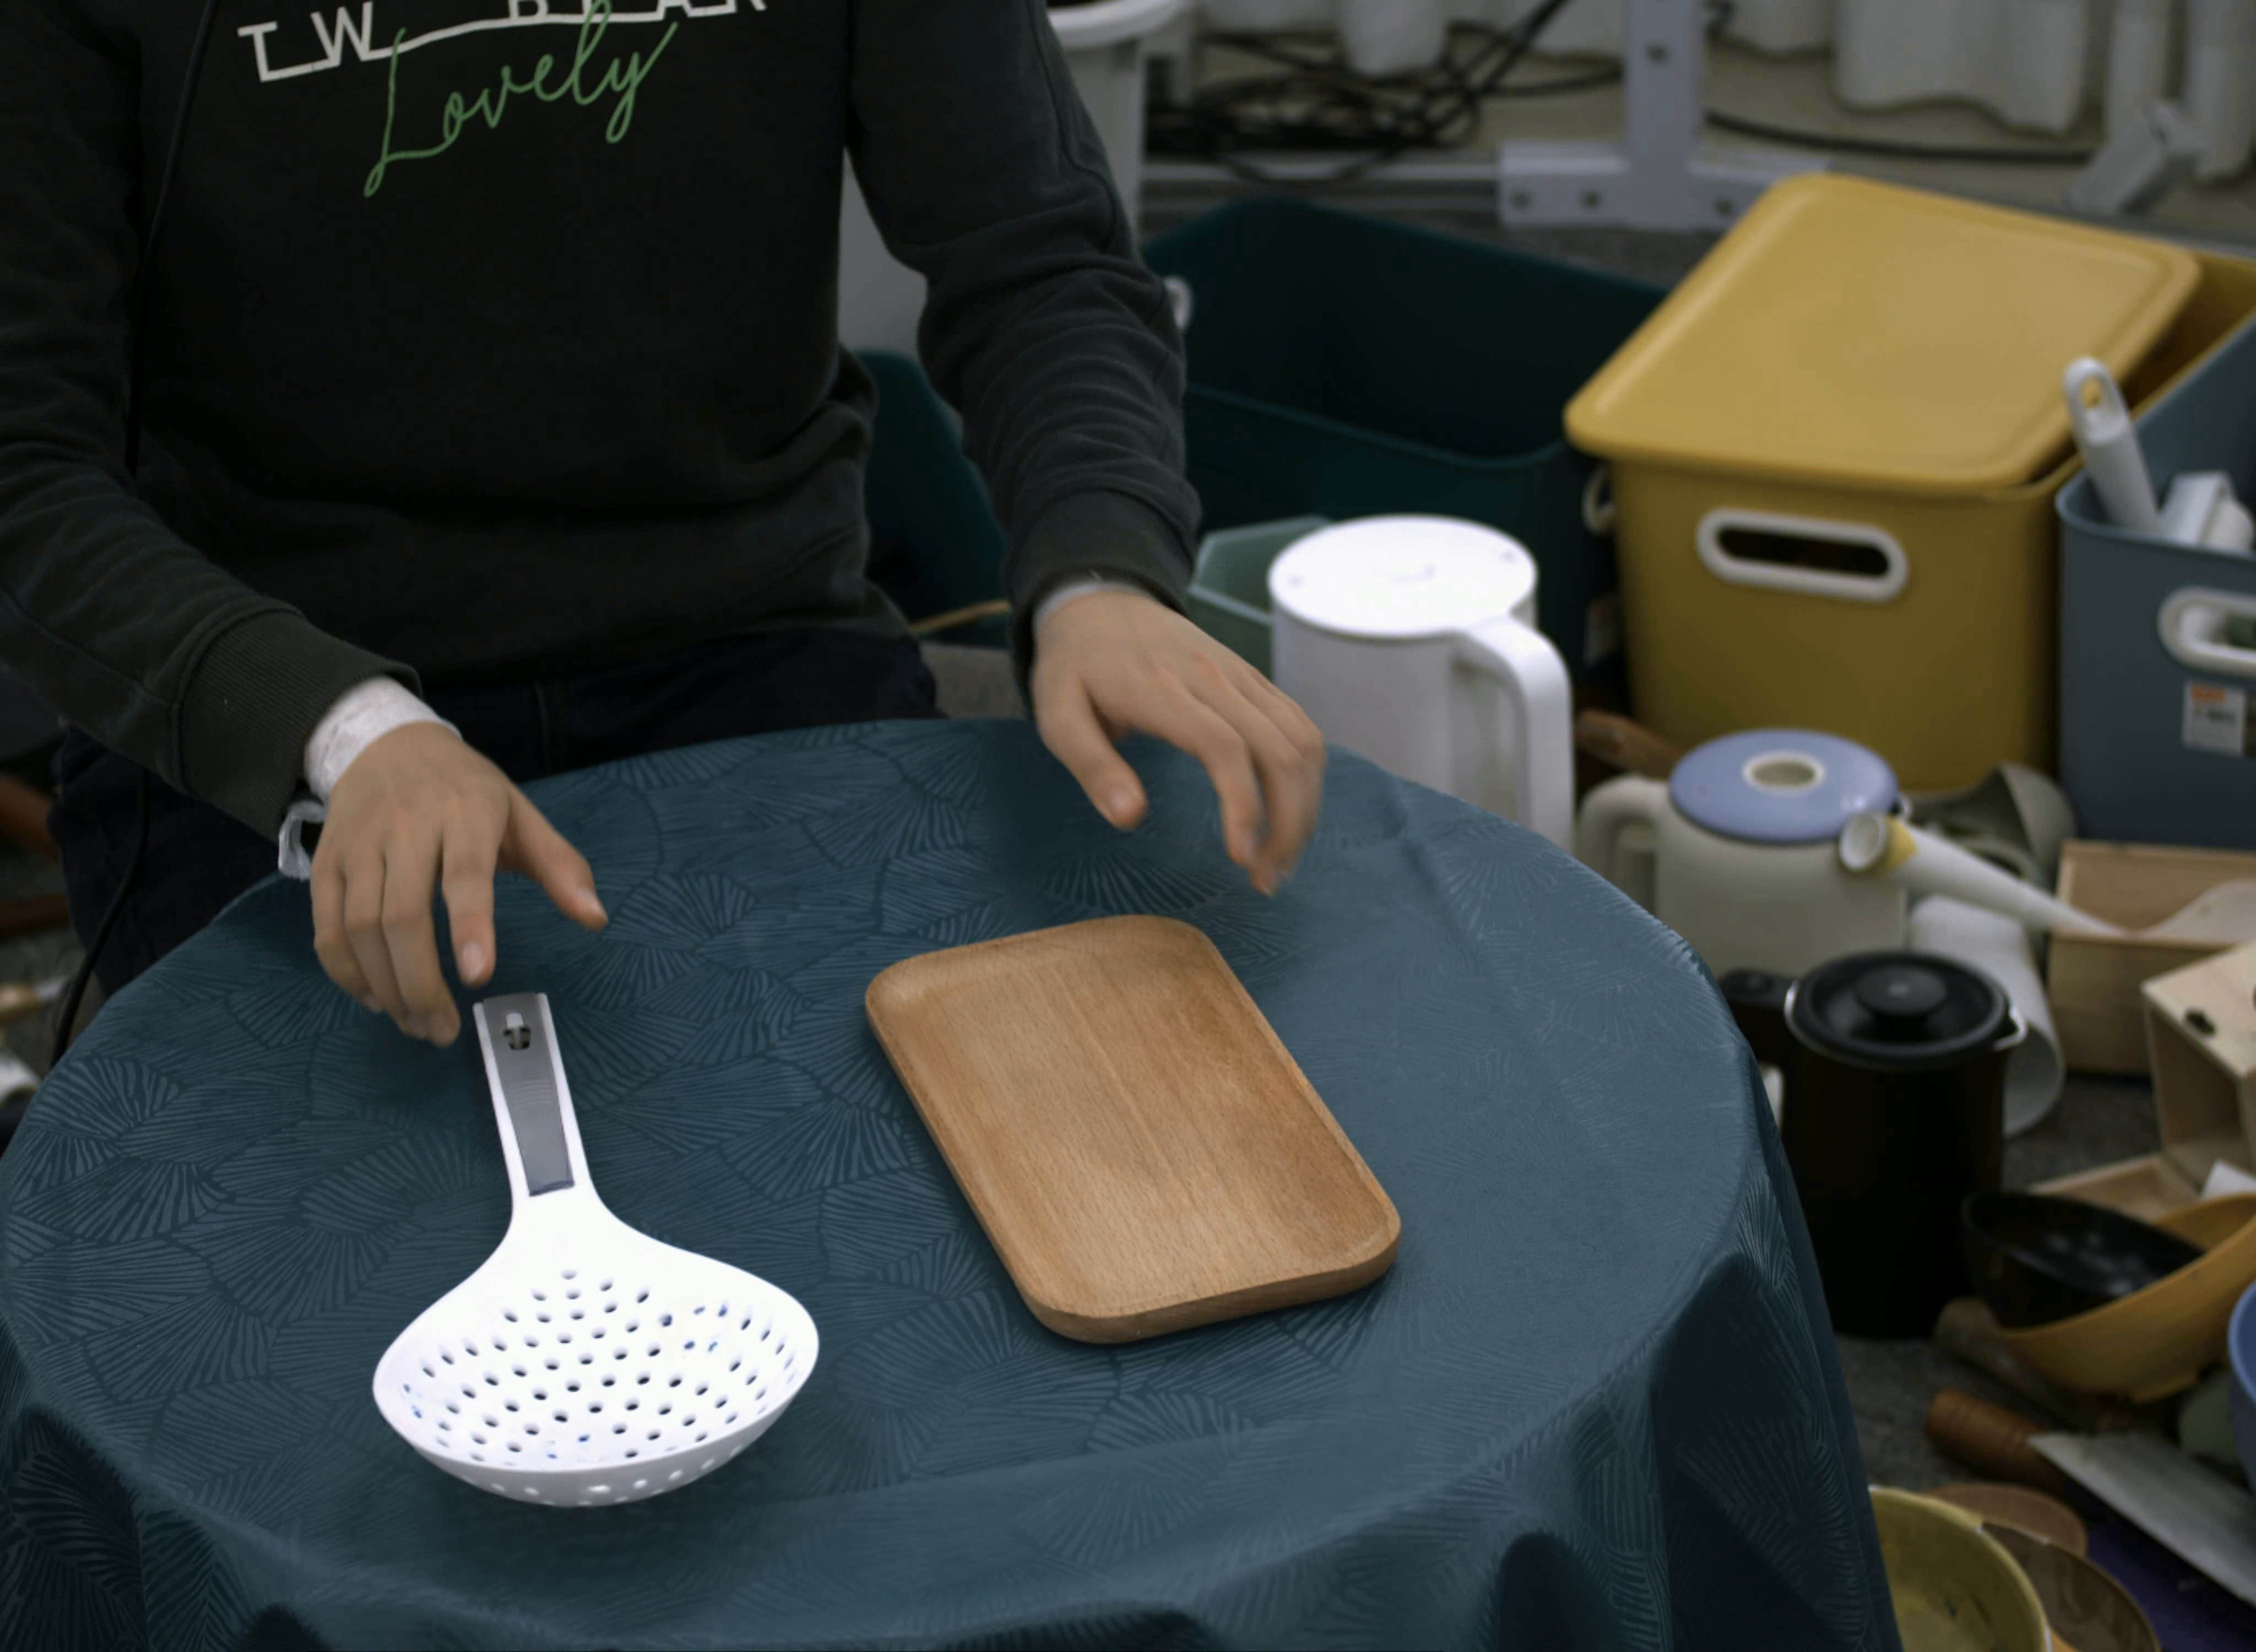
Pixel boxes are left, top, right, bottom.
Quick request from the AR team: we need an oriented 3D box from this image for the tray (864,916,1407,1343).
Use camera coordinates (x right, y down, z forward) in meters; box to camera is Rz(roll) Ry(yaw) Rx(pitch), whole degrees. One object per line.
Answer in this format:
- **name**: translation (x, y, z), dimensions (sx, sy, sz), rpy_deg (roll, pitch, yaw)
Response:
- **tray**: translation (-0.001, 0.099, 1.888), dimensions (0.130, 0.022, 0.253), rpy_deg (-9, 27, -15)

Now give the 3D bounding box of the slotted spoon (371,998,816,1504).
- **slotted spoon**: translation (-0.183, 0.131, 1.813), dimensions (0.136, 0.045, 0.354), rpy_deg (-6, 27, -9)
